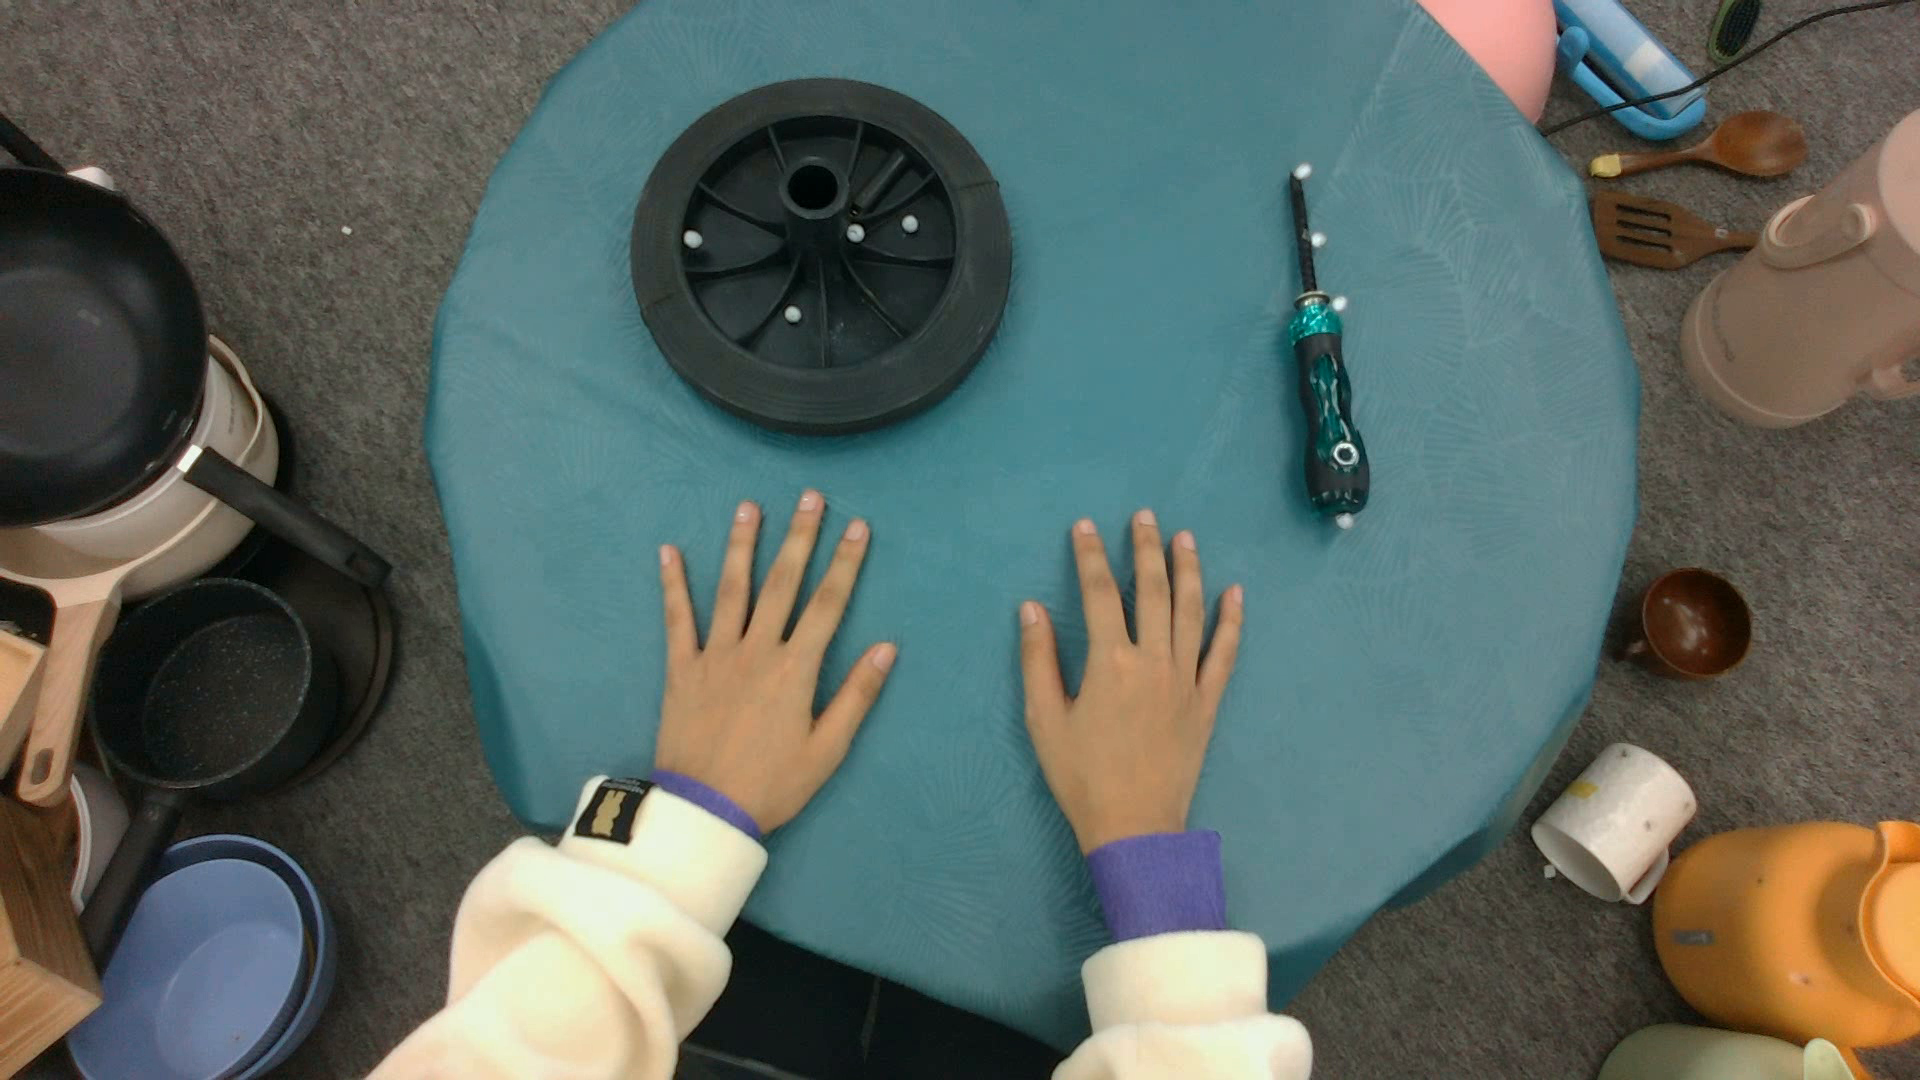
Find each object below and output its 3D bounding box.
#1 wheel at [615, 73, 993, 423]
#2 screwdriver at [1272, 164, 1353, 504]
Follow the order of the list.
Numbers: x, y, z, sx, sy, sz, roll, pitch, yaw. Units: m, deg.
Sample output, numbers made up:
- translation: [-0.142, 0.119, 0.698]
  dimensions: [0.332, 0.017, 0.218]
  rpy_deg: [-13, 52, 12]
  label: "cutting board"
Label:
- translation: [-0.076, -0.155, 0.667]
  dimensions: [0.187, 0.079, 0.190]
  rpy_deg: [12, 71, 1]
  label: "wheel"
- translation: [0.170, -0.109, 0.692]
  dimensions: [0.034, 0.033, 0.190]
  rpy_deg: [-2, 69, -2]
  label: "screwdriver"
